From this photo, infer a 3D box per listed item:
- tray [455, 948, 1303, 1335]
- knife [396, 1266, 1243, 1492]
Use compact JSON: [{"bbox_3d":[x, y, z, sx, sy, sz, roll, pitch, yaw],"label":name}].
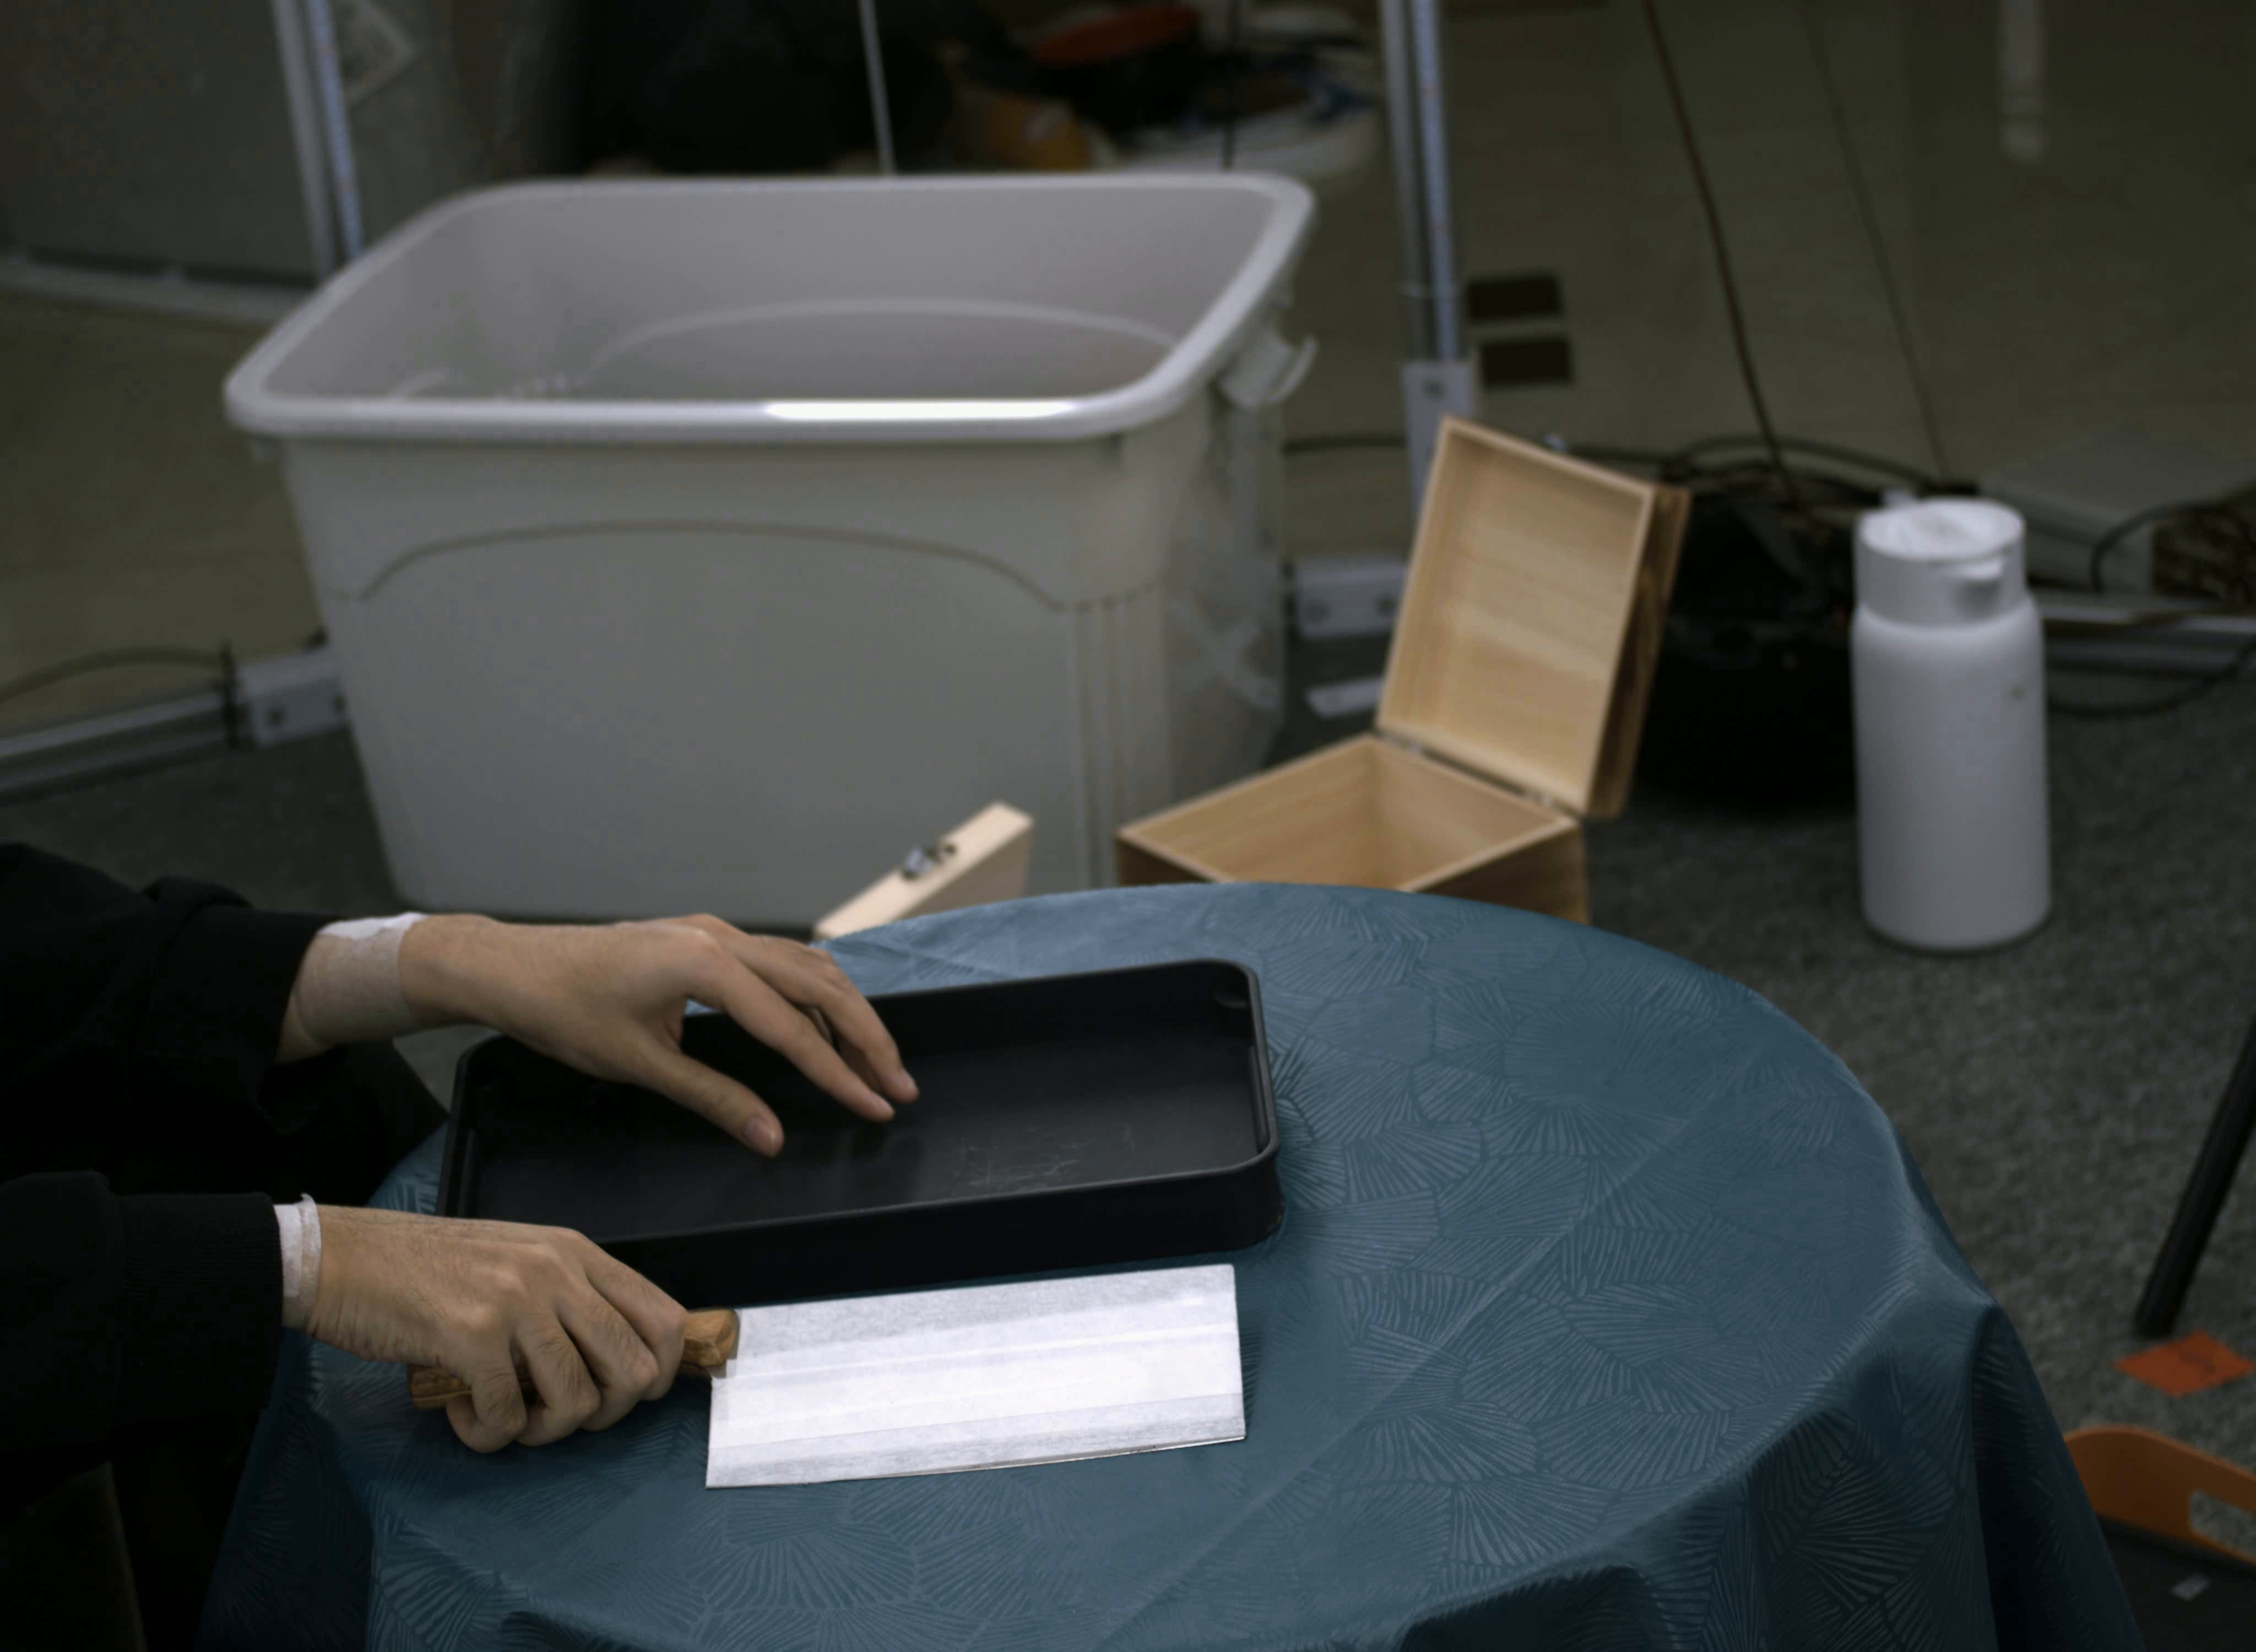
[{"bbox_3d":[-0.096,0.119,2.170,0.317,0.037,0.181,-7,25,-1],"label":"tray"},{"bbox_3d":[-0.112,0.200,2.018,0.305,0.021,0.091,-6,39,2],"label":"knife"}]
